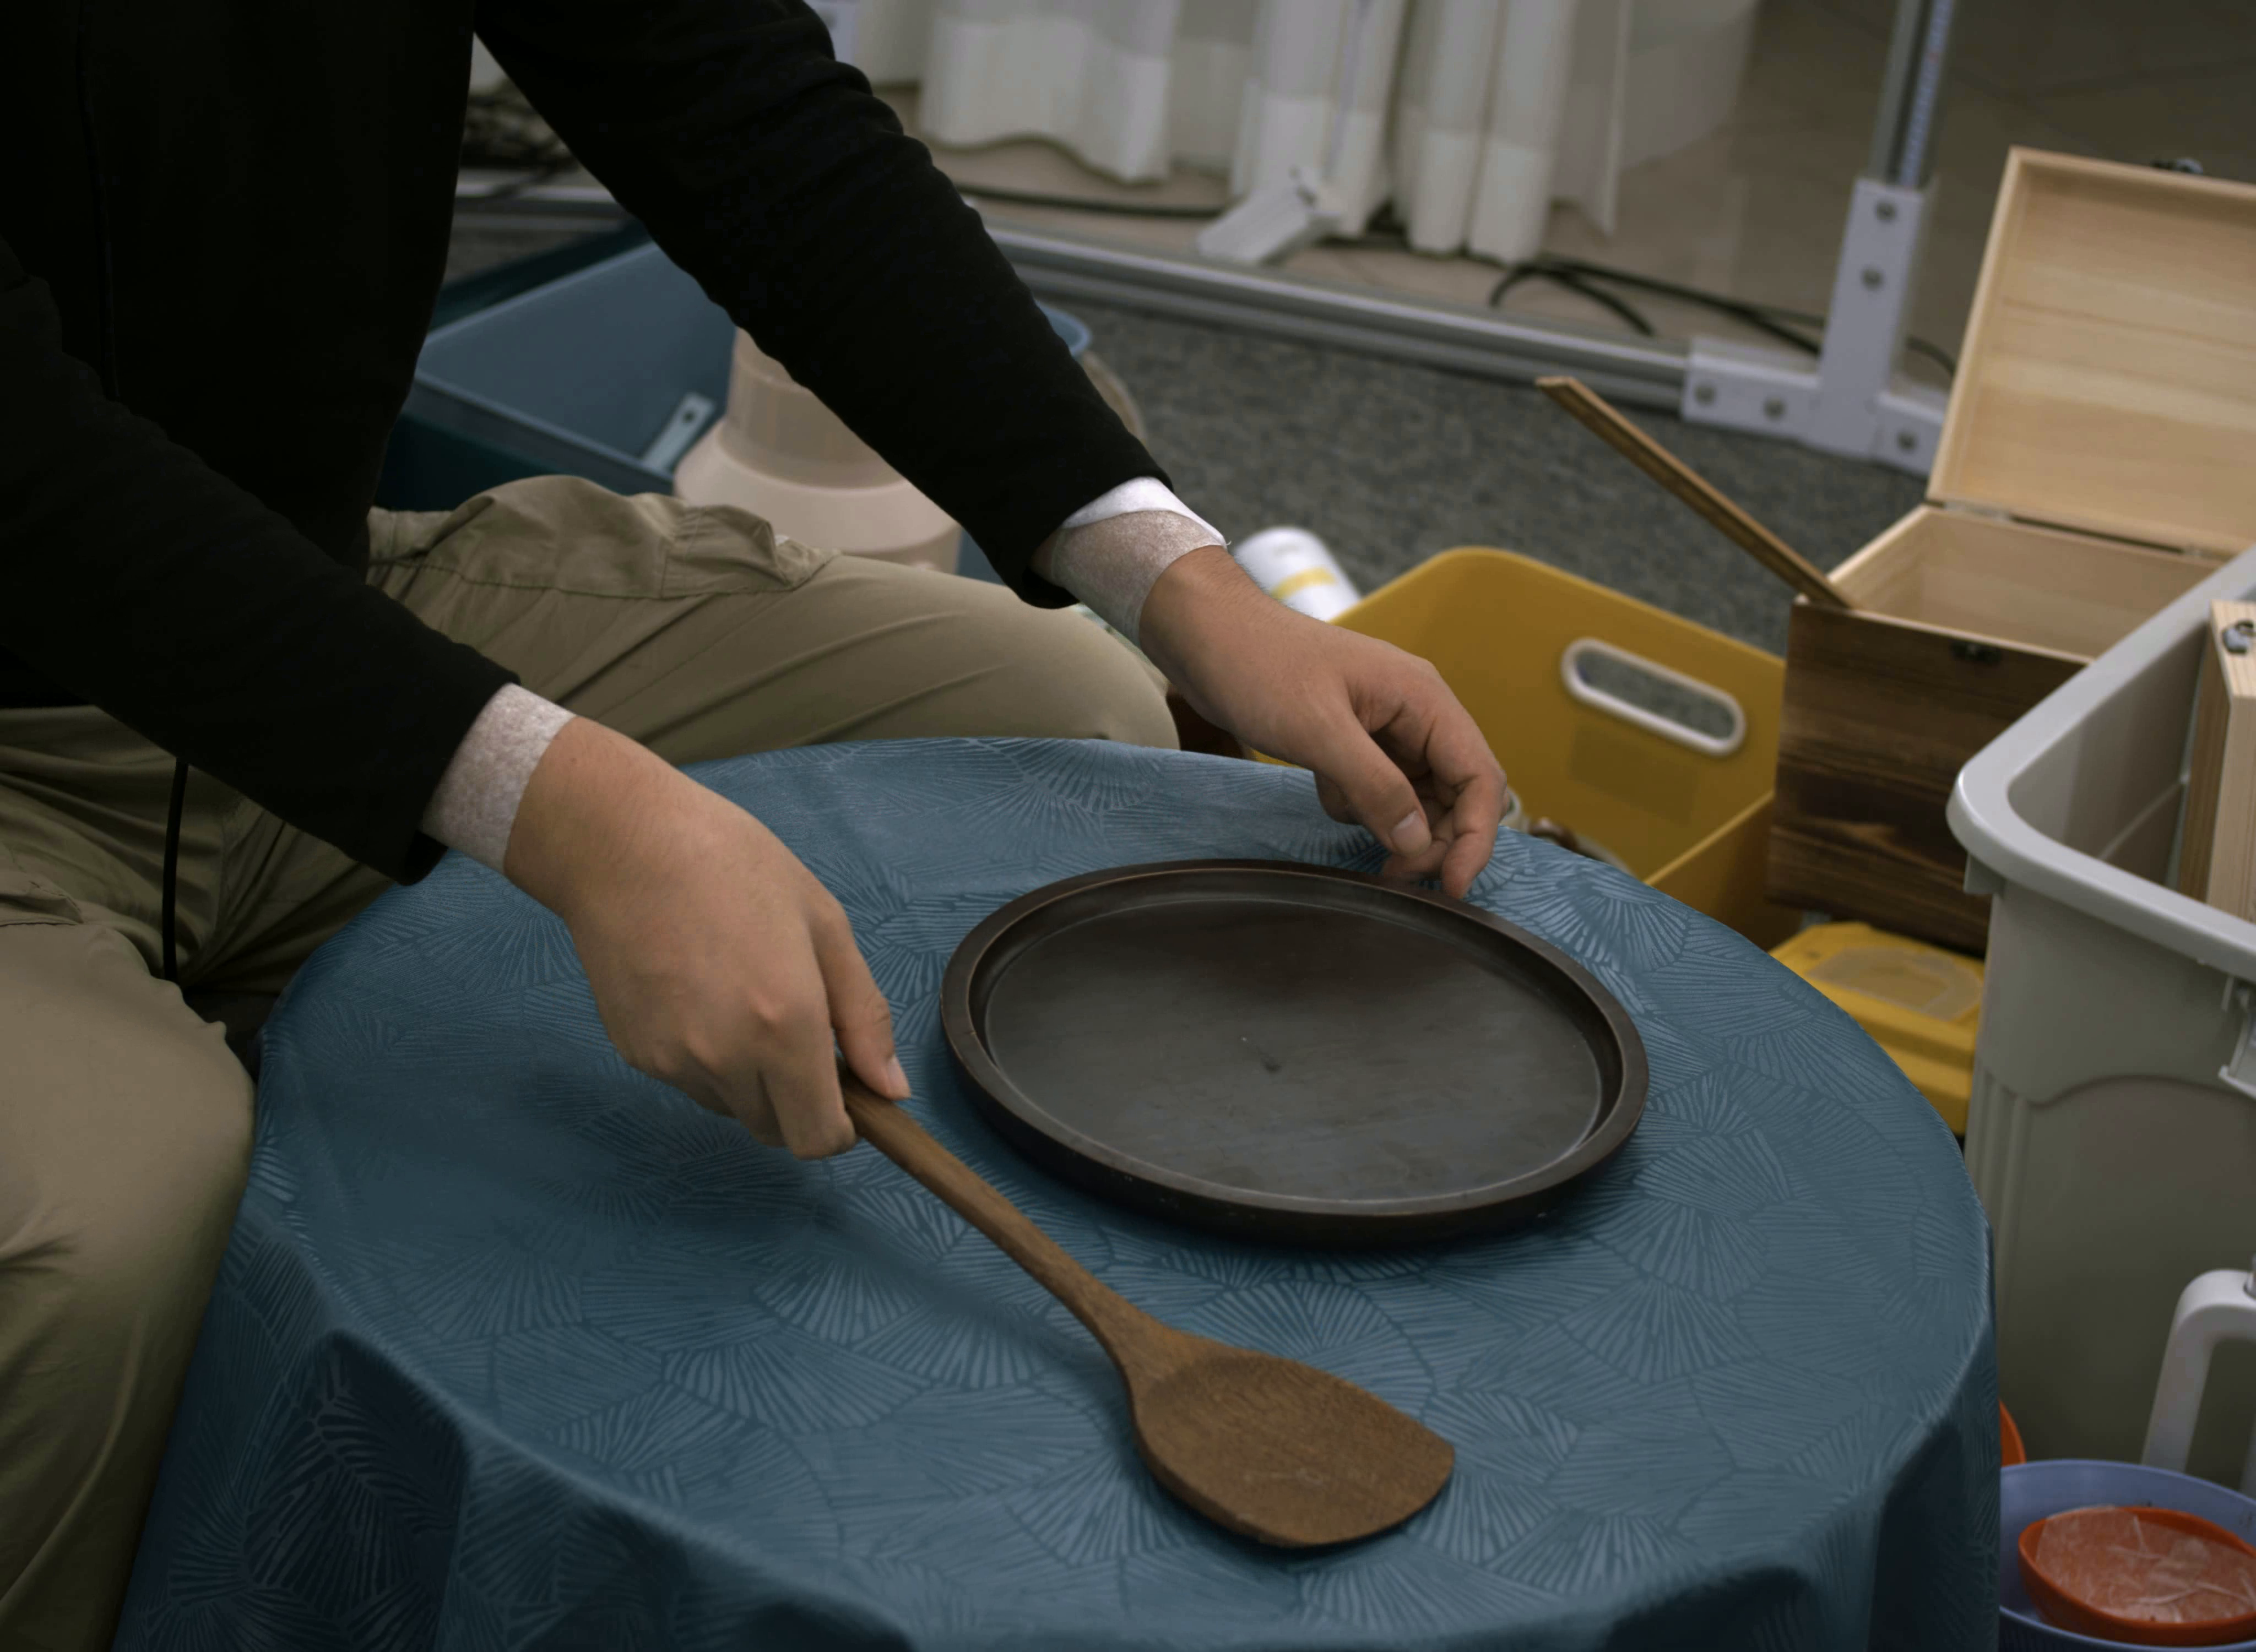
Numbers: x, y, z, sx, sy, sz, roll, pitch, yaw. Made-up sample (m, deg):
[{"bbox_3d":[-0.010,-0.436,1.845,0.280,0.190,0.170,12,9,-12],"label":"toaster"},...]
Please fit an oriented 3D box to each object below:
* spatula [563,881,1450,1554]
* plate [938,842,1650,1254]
[{"bbox_3d":[-0.055,0.118,1.731,0.389,0.016,0.095,37,36,30],"label":"spatula"},{"bbox_3d":[0.058,0.079,1.875,0.254,0.029,0.256,4,28,-2],"label":"plate"}]
